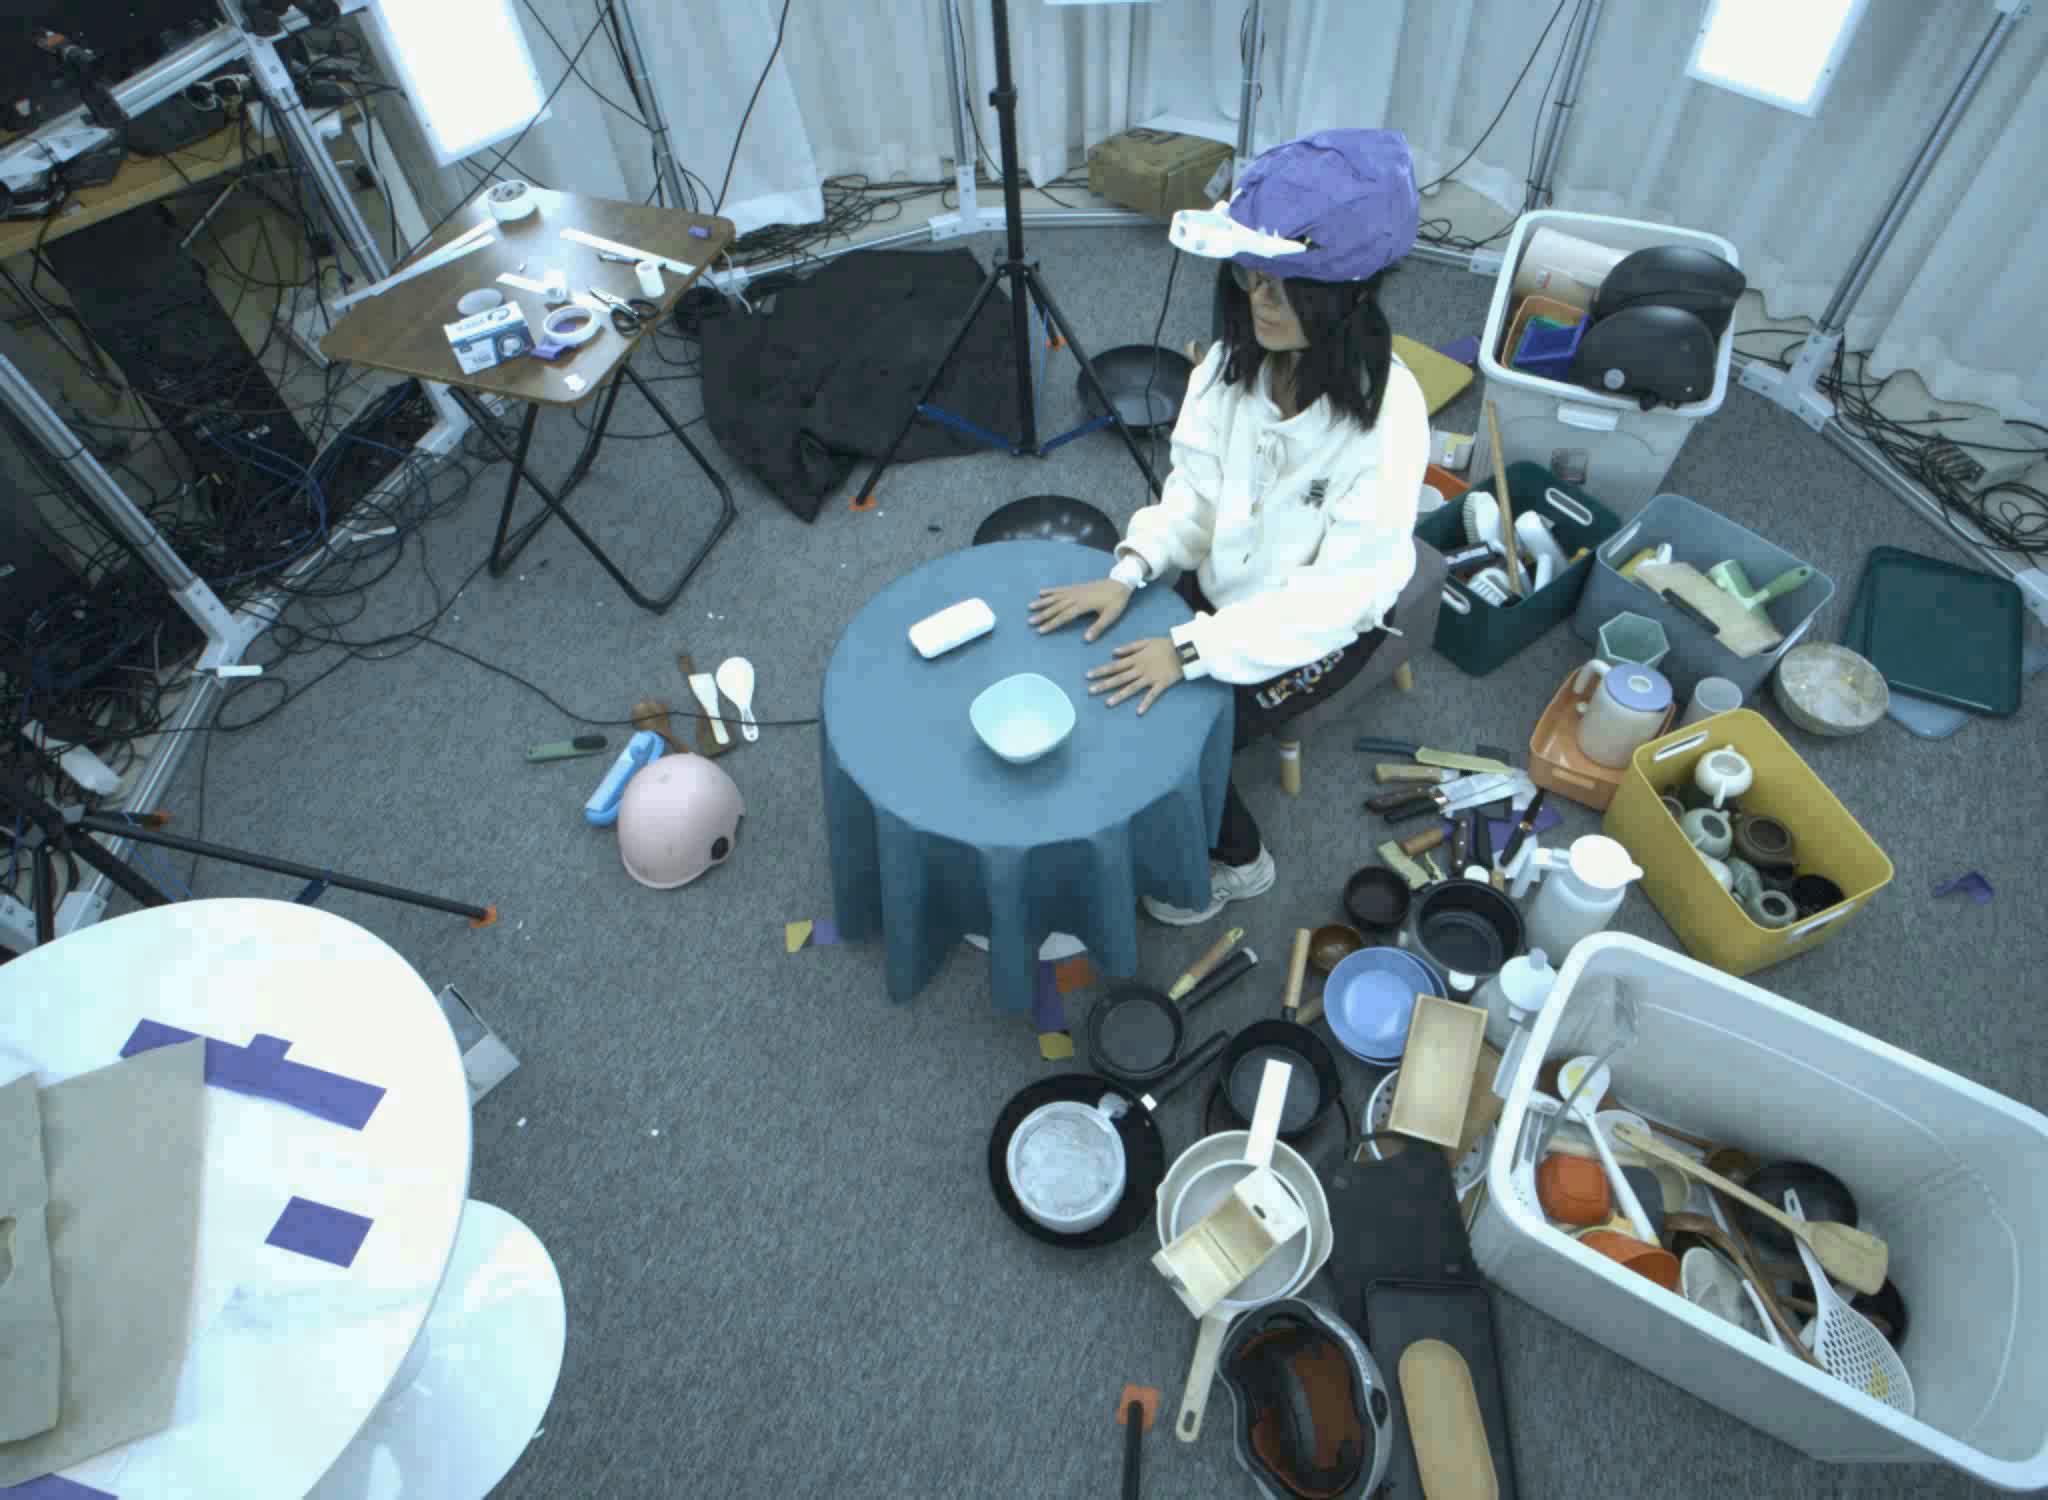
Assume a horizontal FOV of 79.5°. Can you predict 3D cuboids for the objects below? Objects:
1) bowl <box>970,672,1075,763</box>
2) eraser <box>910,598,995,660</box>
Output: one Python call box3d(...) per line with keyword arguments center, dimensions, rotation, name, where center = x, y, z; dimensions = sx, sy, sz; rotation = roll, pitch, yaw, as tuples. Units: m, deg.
box3d(center=(-0.002, -0.036, 1.780), dimensions=(0.151, 0.059, 0.150), rotation=(0, 56, 1), name="bowl")
box3d(center=(-0.110, -0.188, 1.906), dimensions=(0.132, 0.035, 0.062), rotation=(-27, 58, -16), name="eraser")
